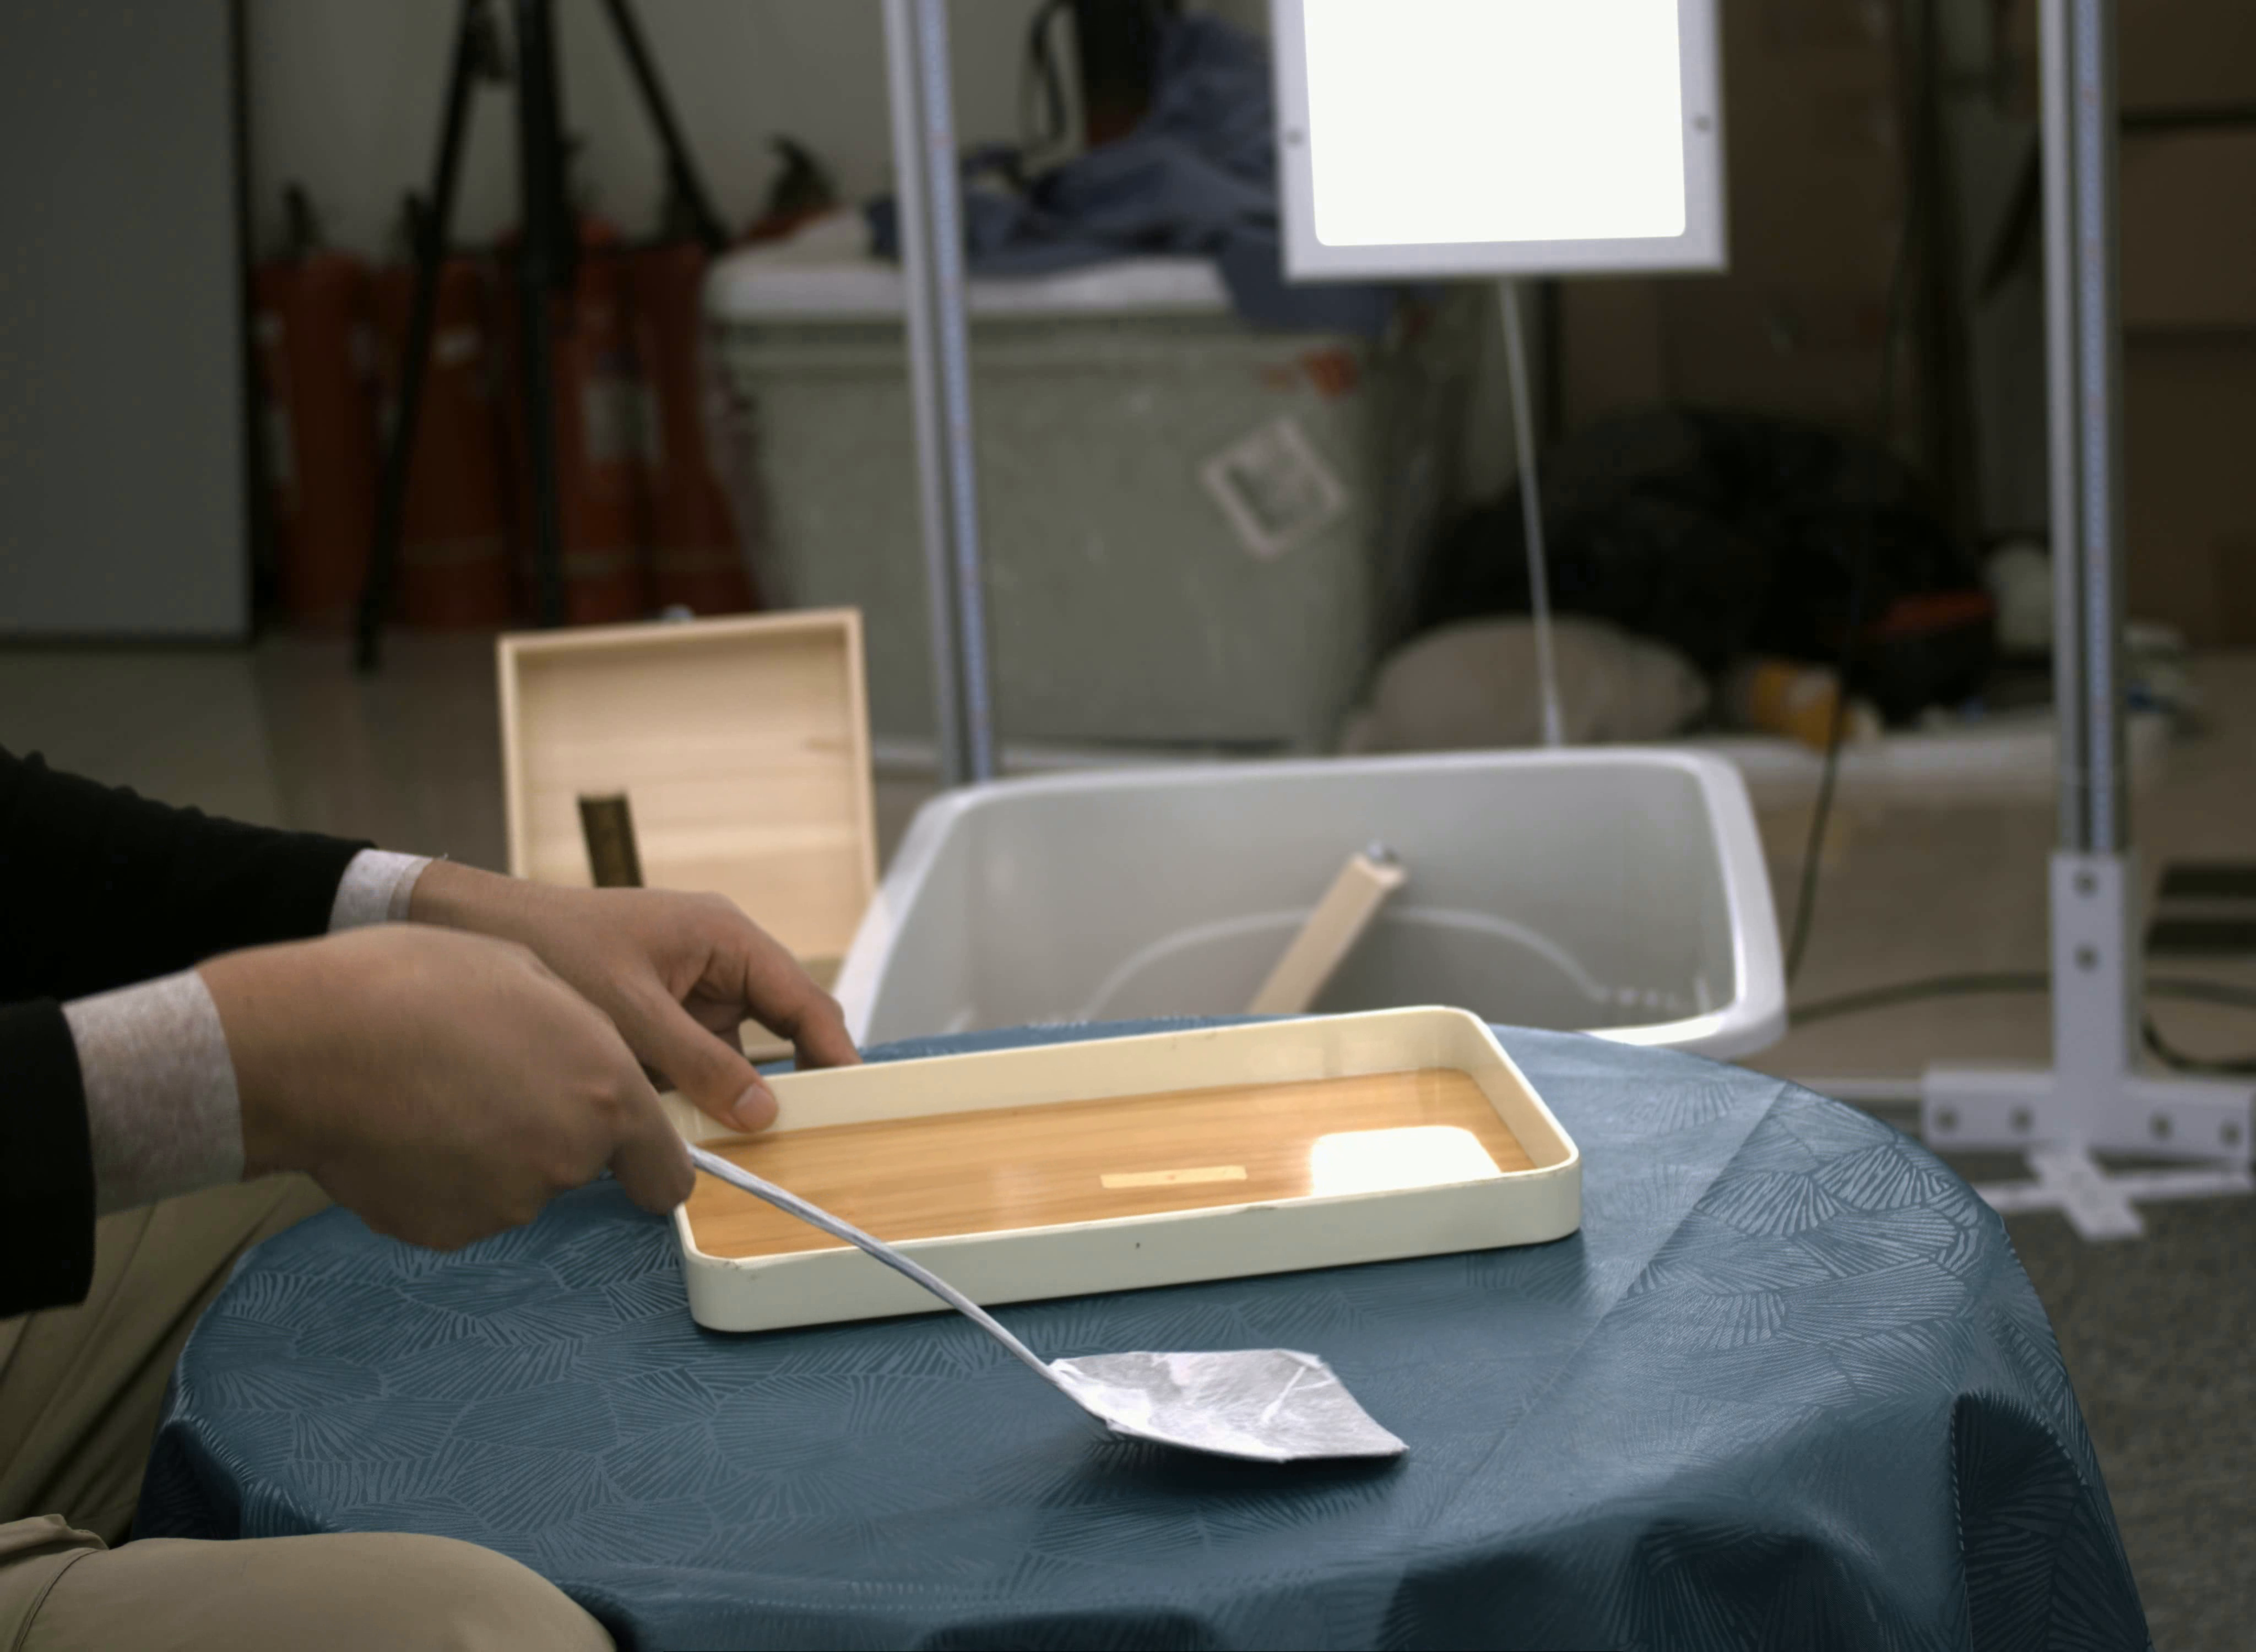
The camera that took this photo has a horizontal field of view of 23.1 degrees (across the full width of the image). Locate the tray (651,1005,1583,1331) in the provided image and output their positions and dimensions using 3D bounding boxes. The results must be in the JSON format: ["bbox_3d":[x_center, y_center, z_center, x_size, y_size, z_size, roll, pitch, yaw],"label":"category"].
[{"bbox_3d":[-0.008,0.114,1.877,0.298,0.027,0.192,-6,16,-5],"label":"tray"}]

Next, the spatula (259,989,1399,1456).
[{"bbox_3d":[-0.082,0.112,1.600,0.360,0.045,0.100,29,2,-20],"label":"spatula"}]
